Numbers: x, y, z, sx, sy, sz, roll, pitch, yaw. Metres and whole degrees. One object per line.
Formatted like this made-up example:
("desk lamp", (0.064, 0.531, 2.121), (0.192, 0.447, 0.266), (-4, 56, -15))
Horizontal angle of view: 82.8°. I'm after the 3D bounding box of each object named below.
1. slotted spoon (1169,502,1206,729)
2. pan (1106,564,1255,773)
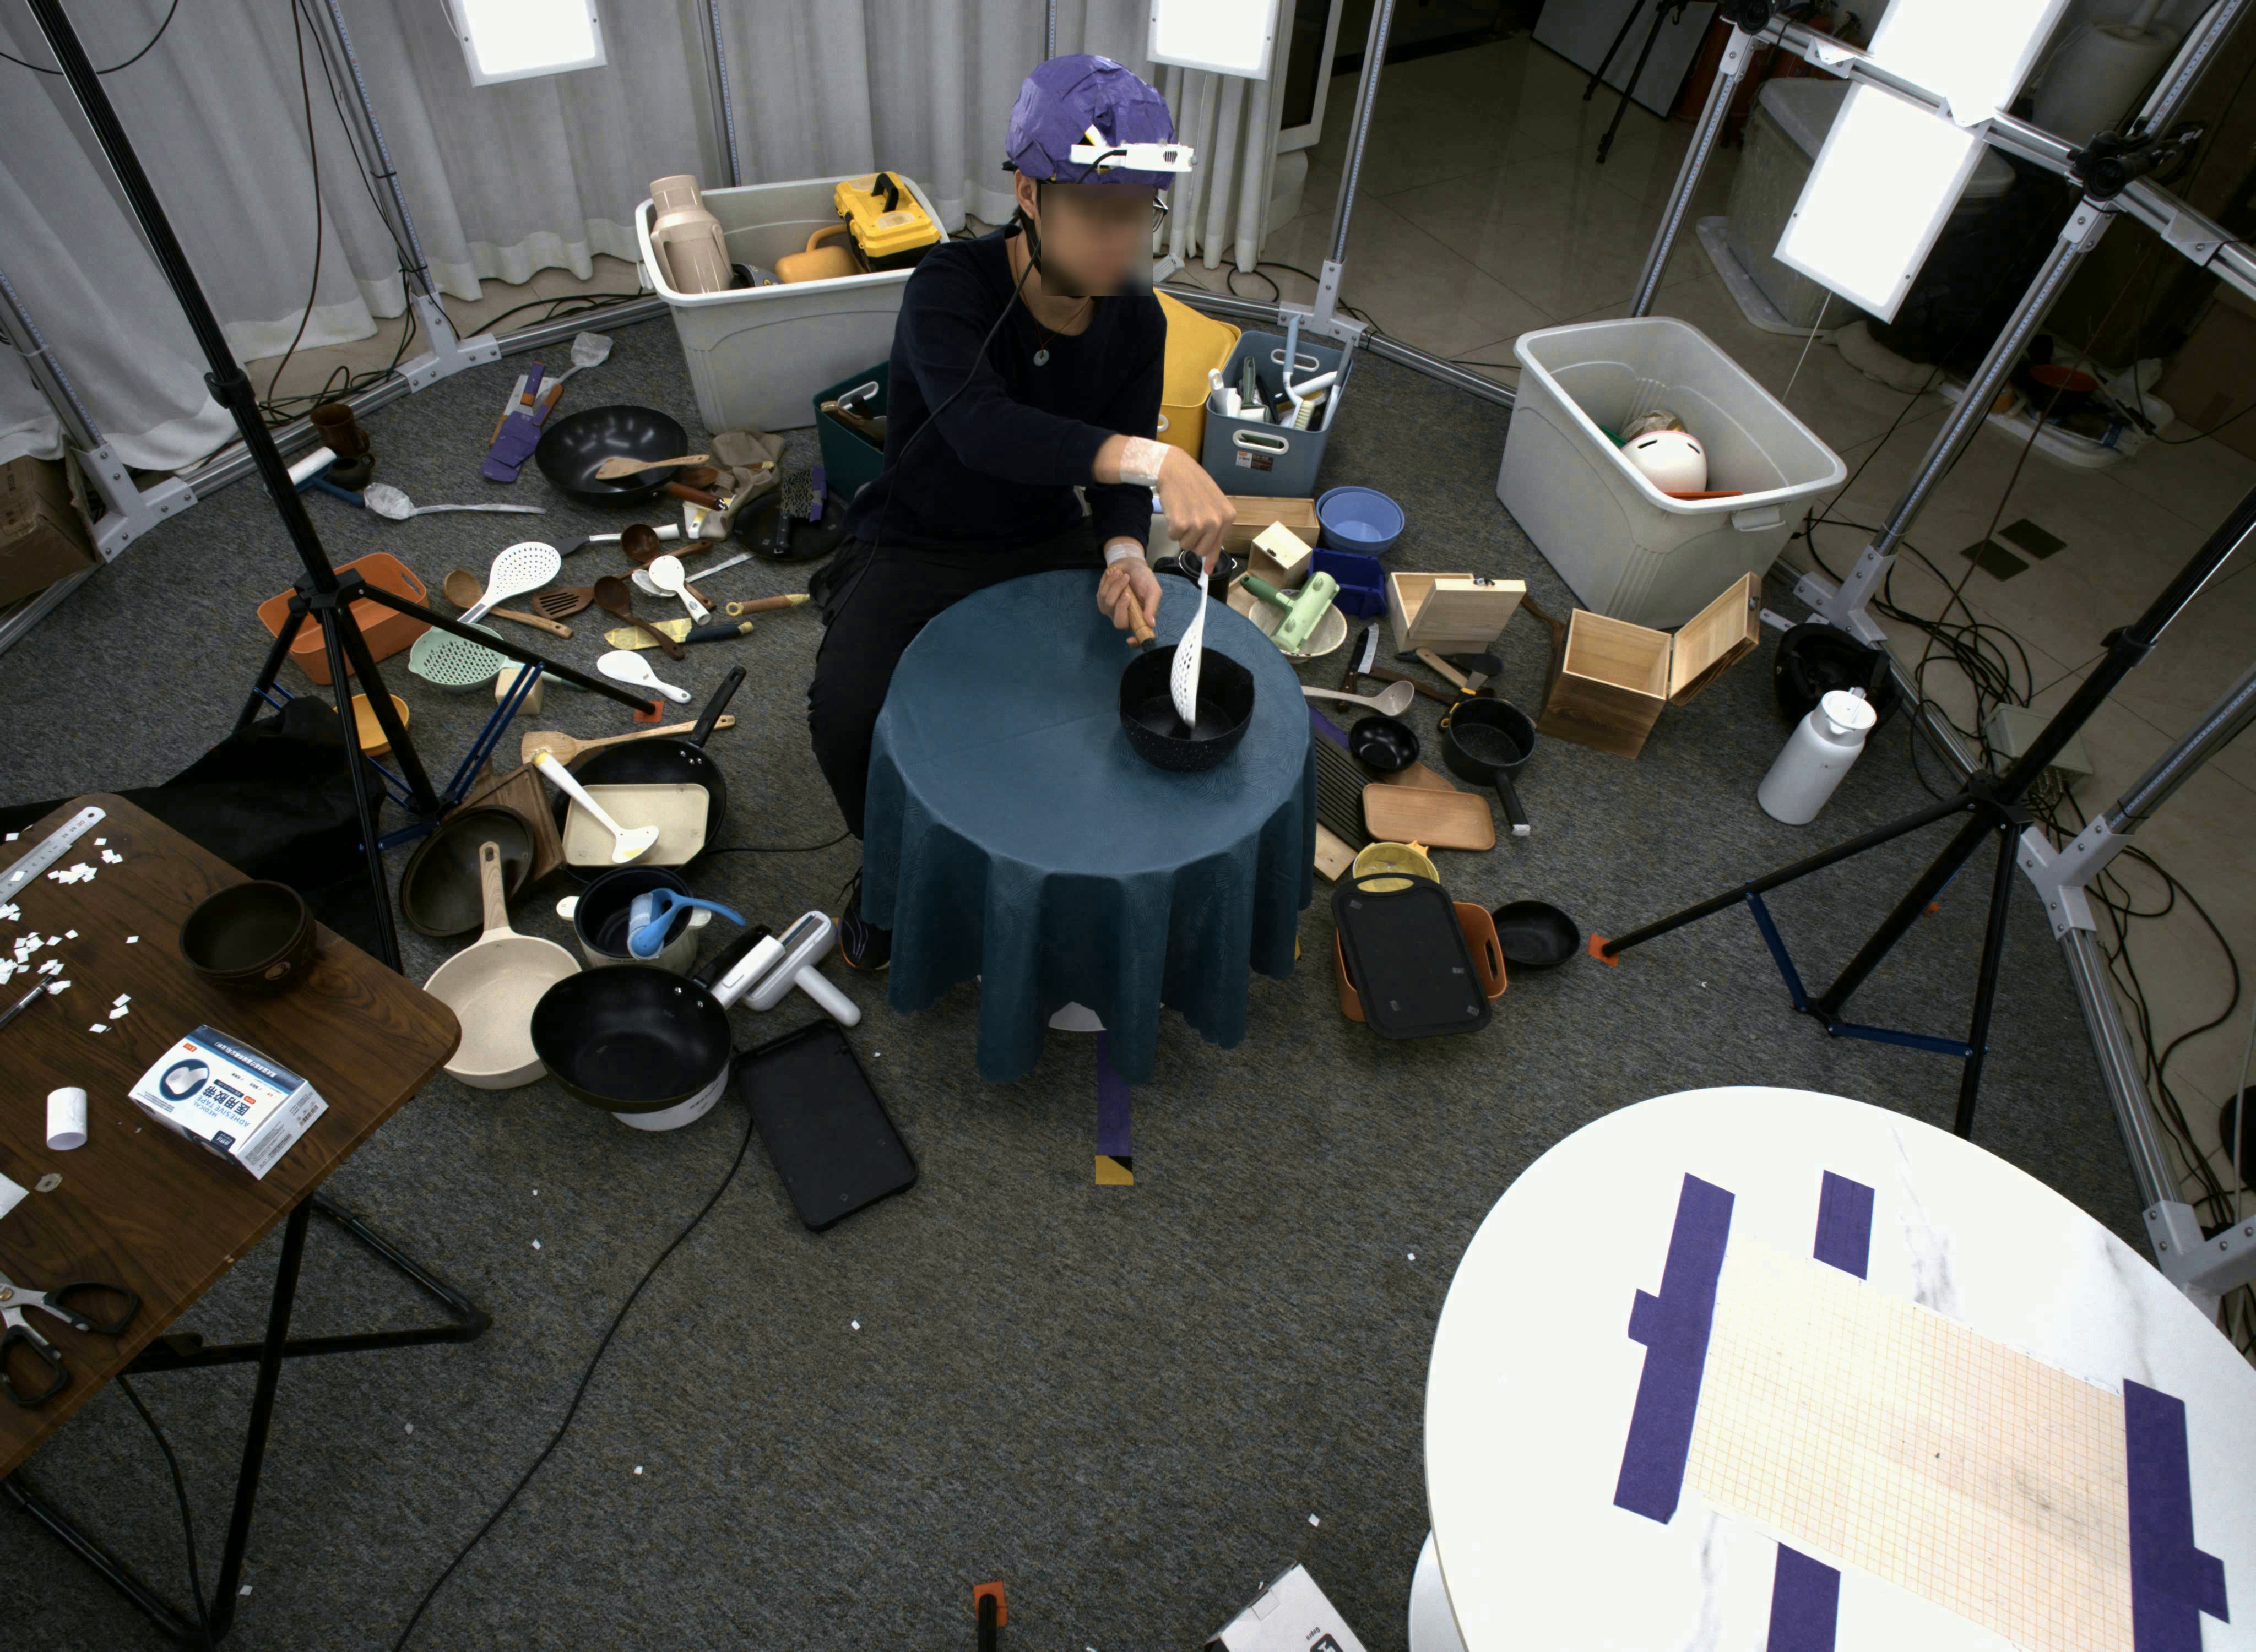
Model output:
("slotted spoon", (0.084, -0.273, 1.655), (0.050, 0.339, 0.140), (8, 49, 0))
("pan", (0.043, -0.220, 1.792), (0.208, 0.105, 0.350), (-18, 54, -18))
